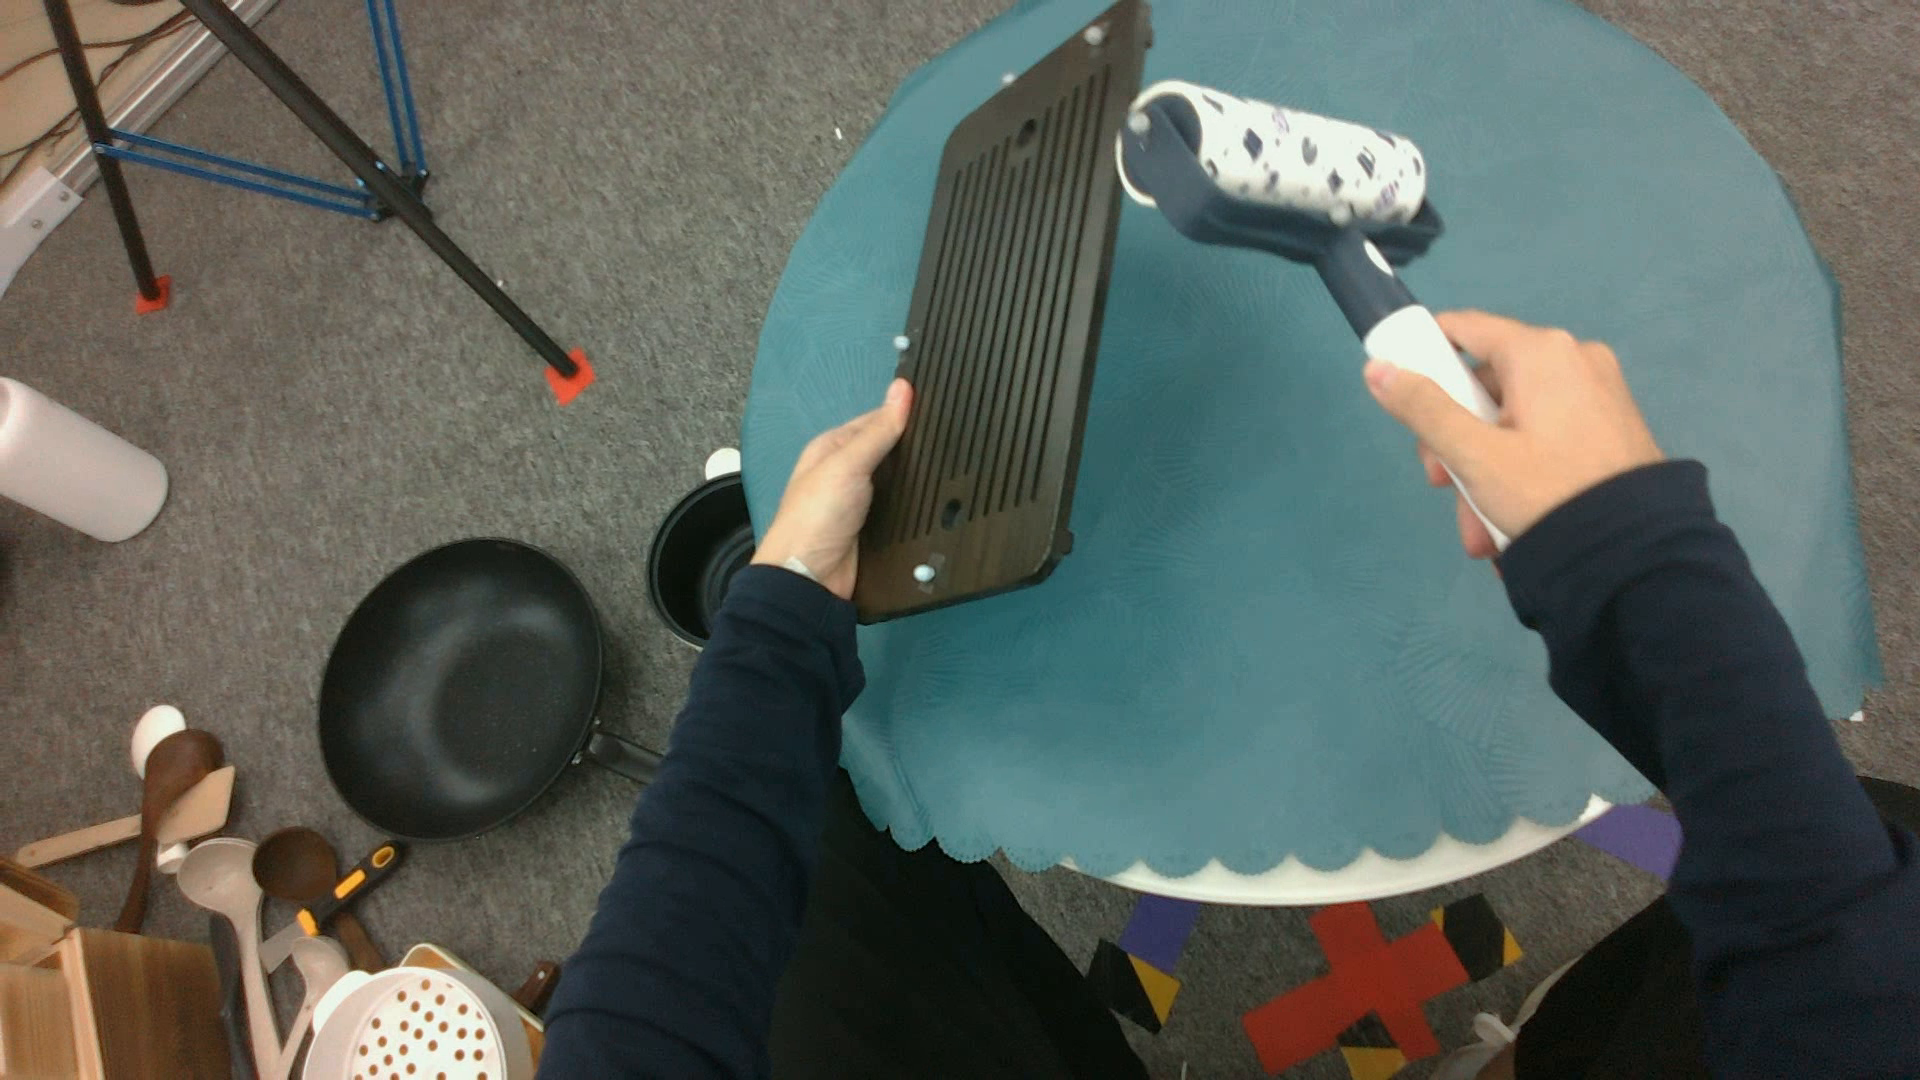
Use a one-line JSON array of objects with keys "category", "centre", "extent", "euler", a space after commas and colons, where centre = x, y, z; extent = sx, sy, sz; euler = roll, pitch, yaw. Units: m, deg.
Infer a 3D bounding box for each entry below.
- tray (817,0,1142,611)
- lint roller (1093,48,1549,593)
[{"category": "tray", "centre": [0.010, -0.116, 0.681], "extent": [0.169, 0.018, 0.307], "euler": [-14, 58, 52]}, {"category": "lint roller", "centre": [0.169, -0.091, 0.559], "extent": [0.050, 0.177, 0.247], "euler": [-45, 63, 38]}]
